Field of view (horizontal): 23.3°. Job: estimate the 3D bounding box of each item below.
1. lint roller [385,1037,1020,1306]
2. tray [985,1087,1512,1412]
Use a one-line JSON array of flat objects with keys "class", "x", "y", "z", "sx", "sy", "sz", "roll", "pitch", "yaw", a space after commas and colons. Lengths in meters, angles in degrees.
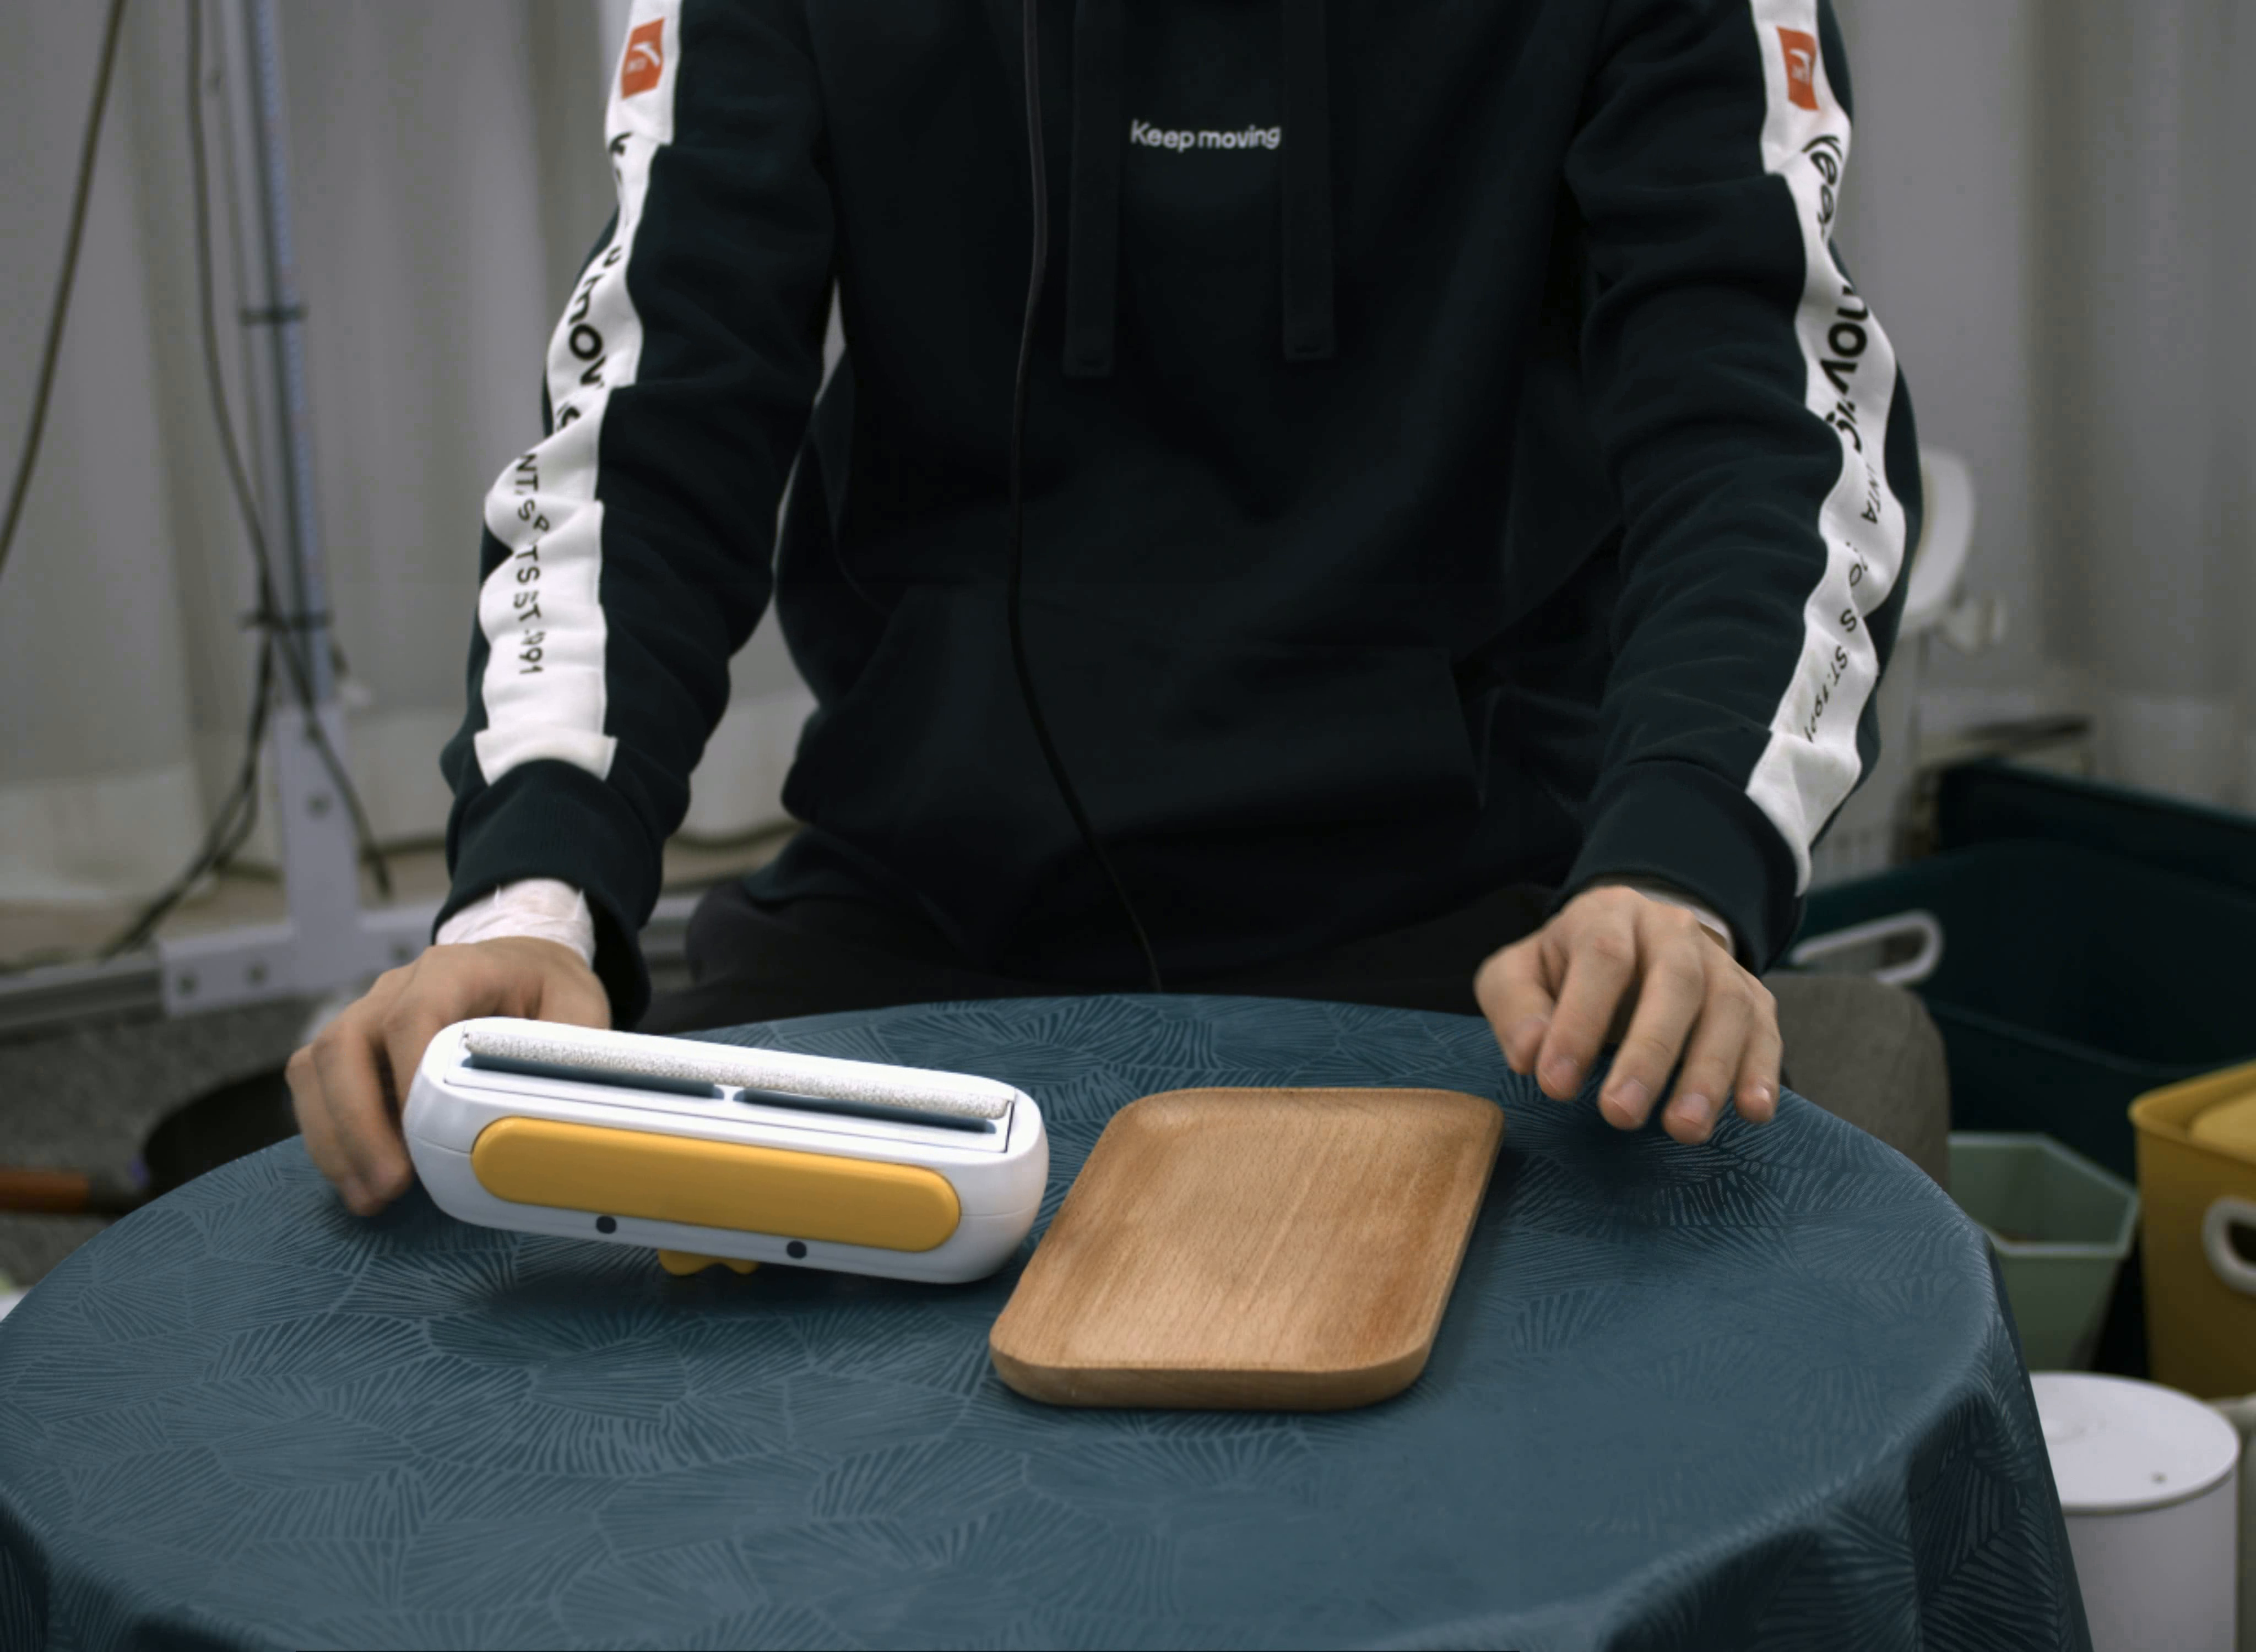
[{"class": "lint roller", "x": -0.122, "y": 0.109, "z": 1.702, "sx": 0.192, "sy": 0.074, "sz": 0.192, "roll": 6, "pitch": 1, "yaw": 7}, {"class": "tray", "x": 0.040, "y": 0.124, "z": 1.639, "sx": 0.130, "sy": 0.023, "sz": 0.252, "roll": 2, "pitch": 15, "yaw": 11}]
